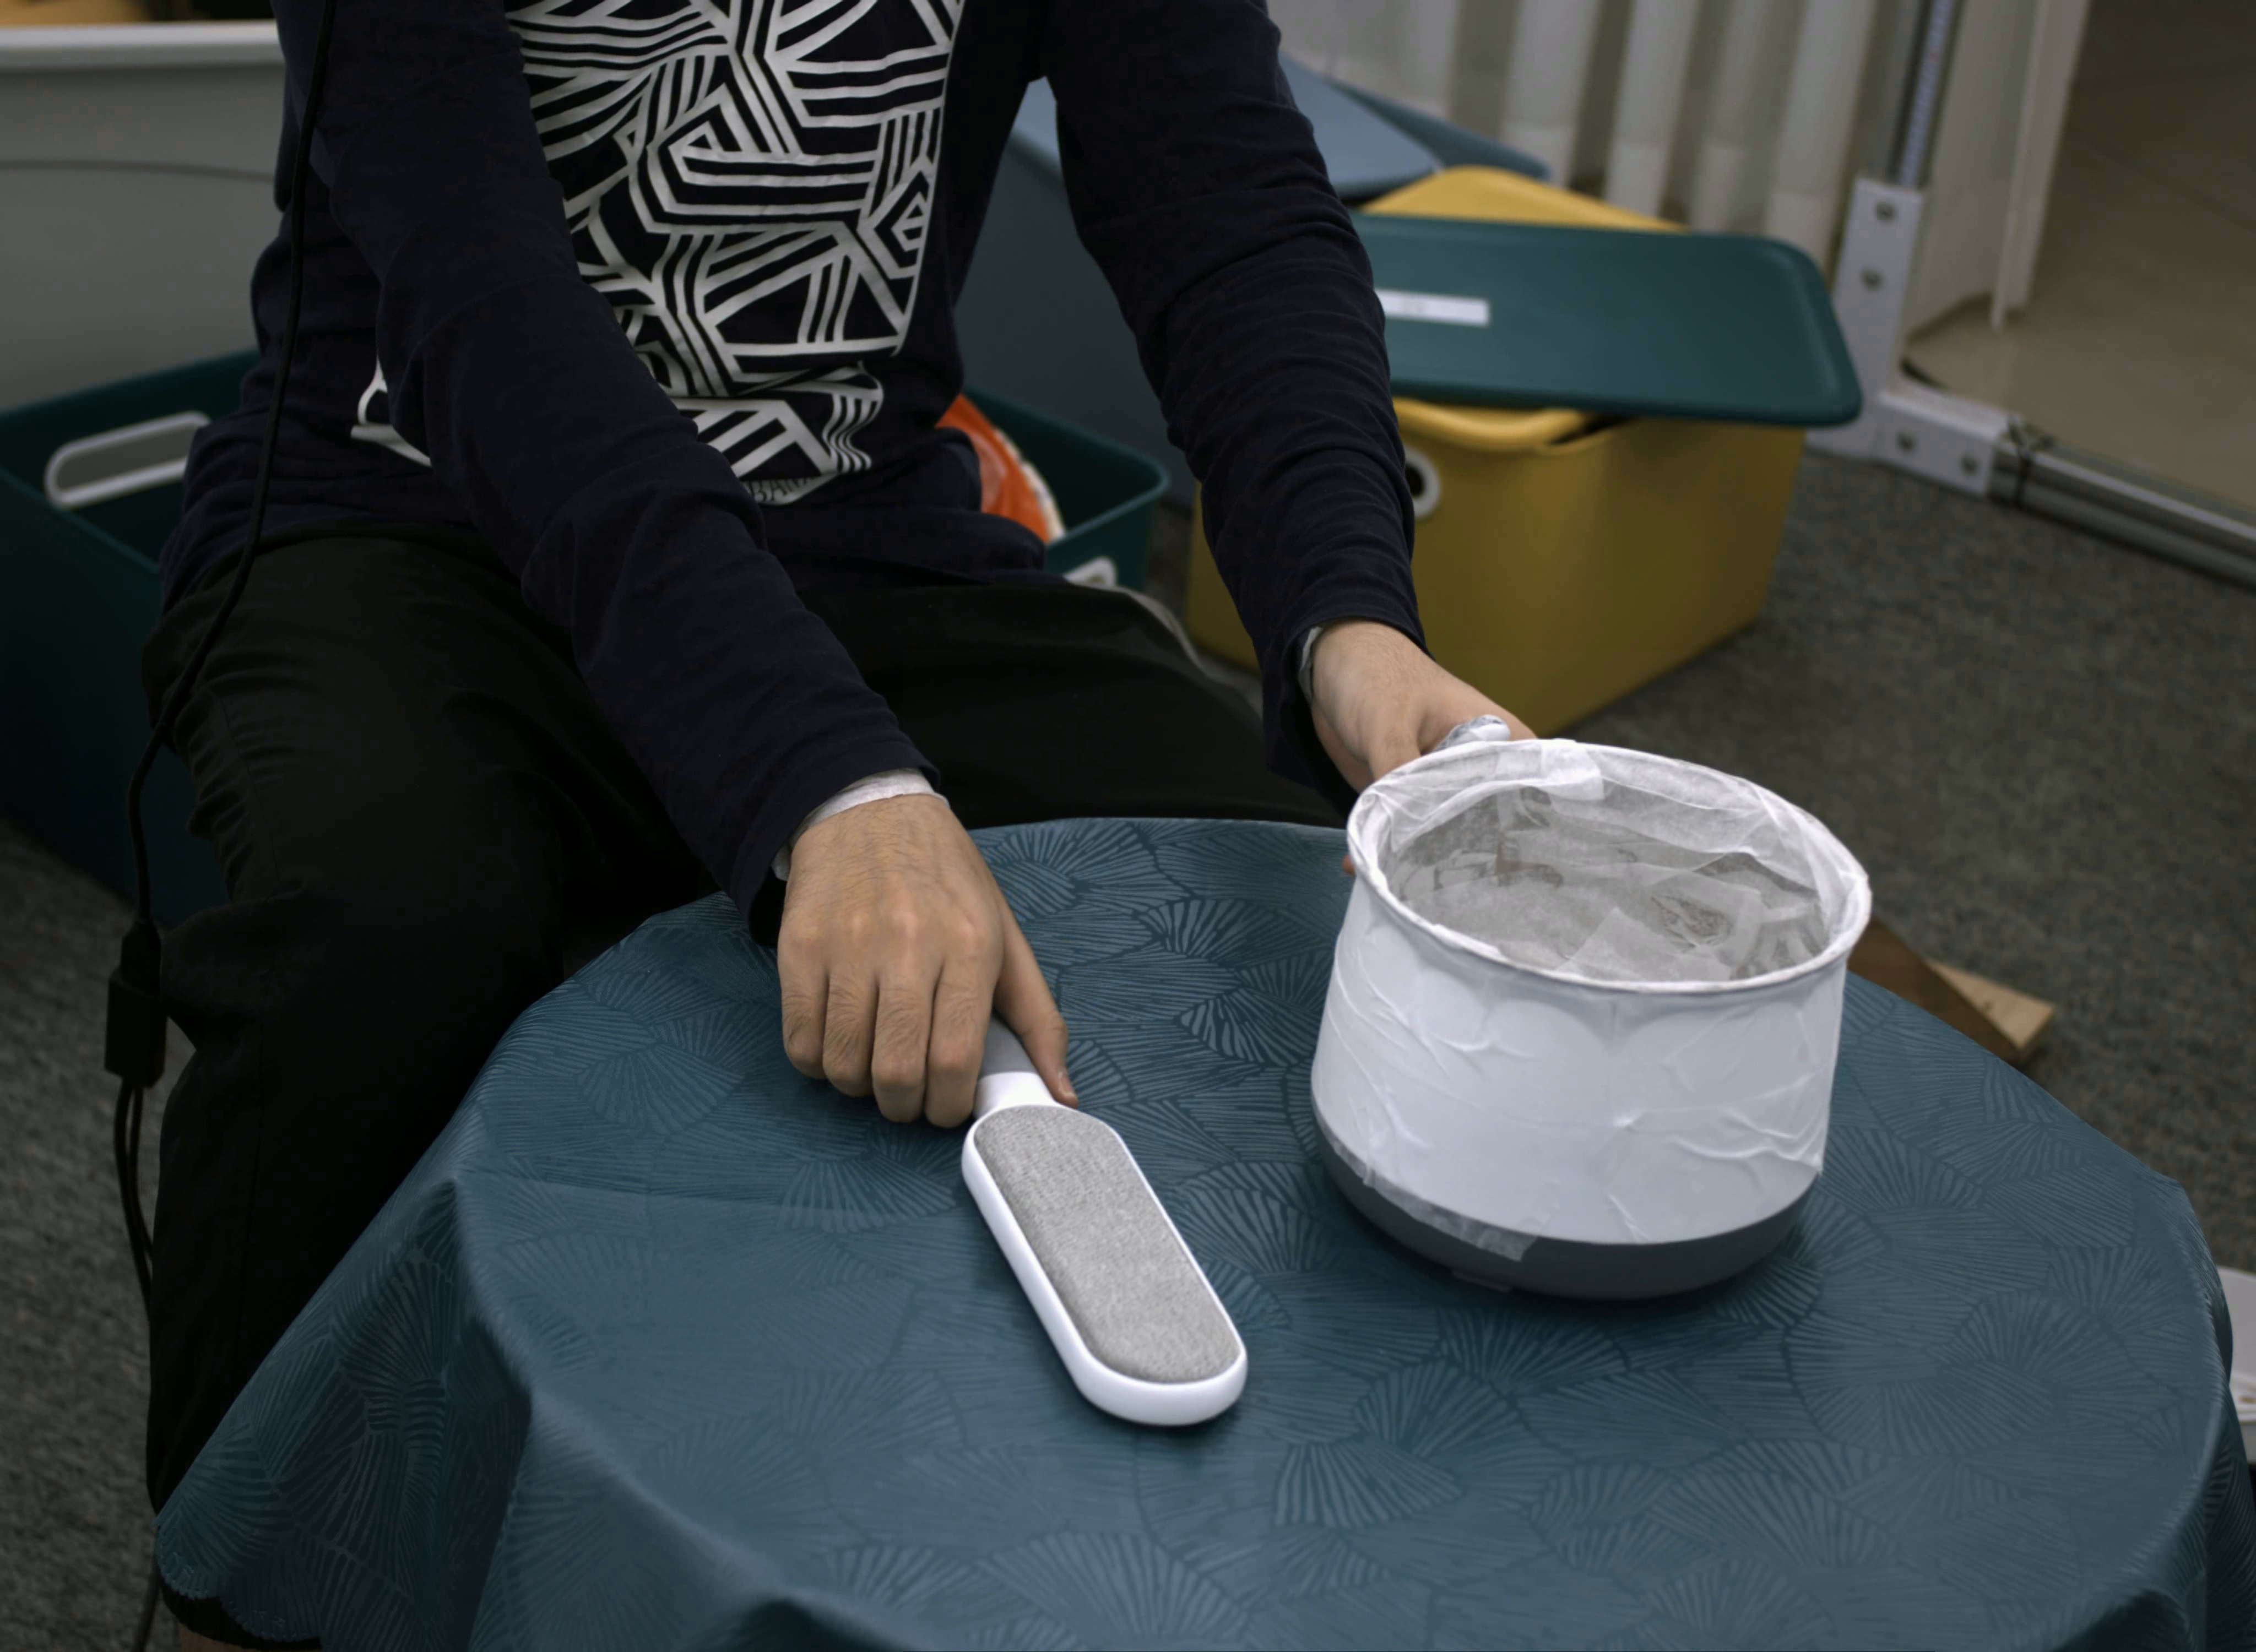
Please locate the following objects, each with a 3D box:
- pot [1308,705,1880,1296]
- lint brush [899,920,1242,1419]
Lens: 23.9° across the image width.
[{"bbox_3d":[0.144,0.052,1.823,0.177,0.136,0.236,-2,28,-23],"label":"pot"},{"bbox_3d":[-0.027,0.110,1.796,0.060,0.021,0.311,-8,29,-15],"label":"lint brush"}]
